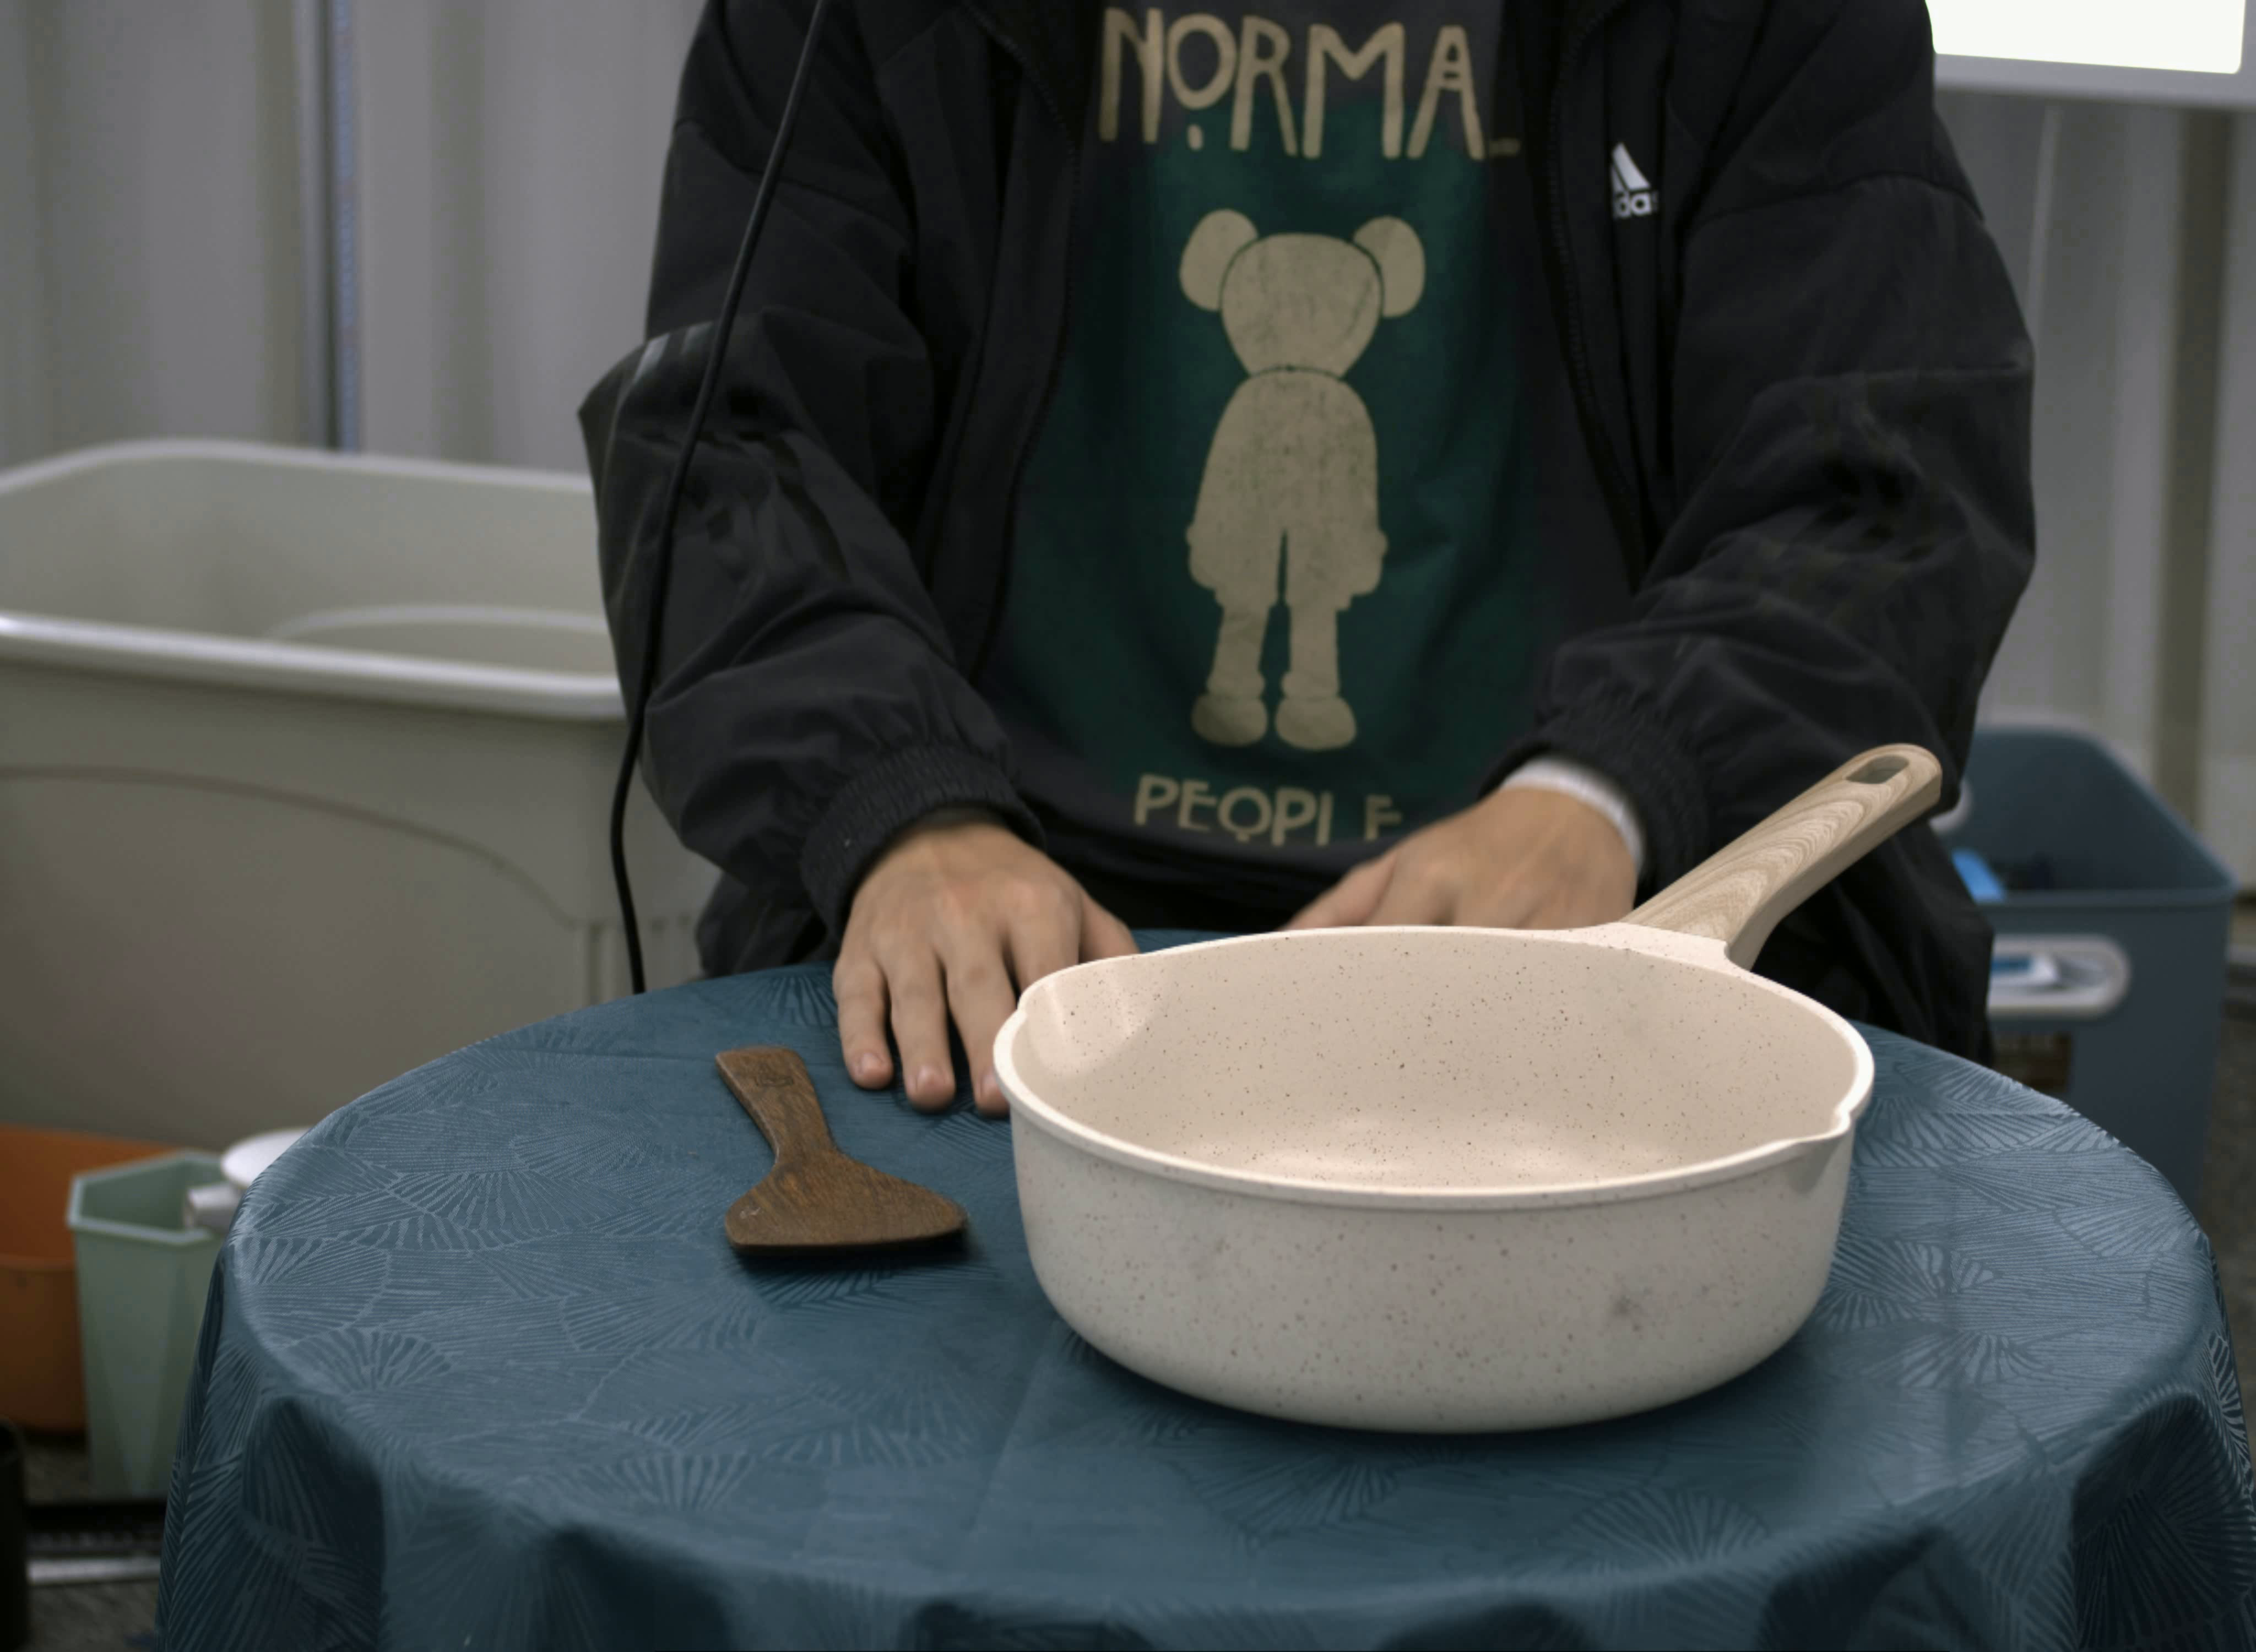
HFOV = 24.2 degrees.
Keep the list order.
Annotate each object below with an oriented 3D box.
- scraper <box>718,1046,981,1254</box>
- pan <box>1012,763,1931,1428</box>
[{"bbox_3d":[-0.100,0.101,1.647,0.076,0.011,0.209,-1,15,-13],"label":"scraper"},{"bbox_3d":[0.142,0.075,1.580,0.260,0.103,0.436,8,17,32],"label":"pan"}]
